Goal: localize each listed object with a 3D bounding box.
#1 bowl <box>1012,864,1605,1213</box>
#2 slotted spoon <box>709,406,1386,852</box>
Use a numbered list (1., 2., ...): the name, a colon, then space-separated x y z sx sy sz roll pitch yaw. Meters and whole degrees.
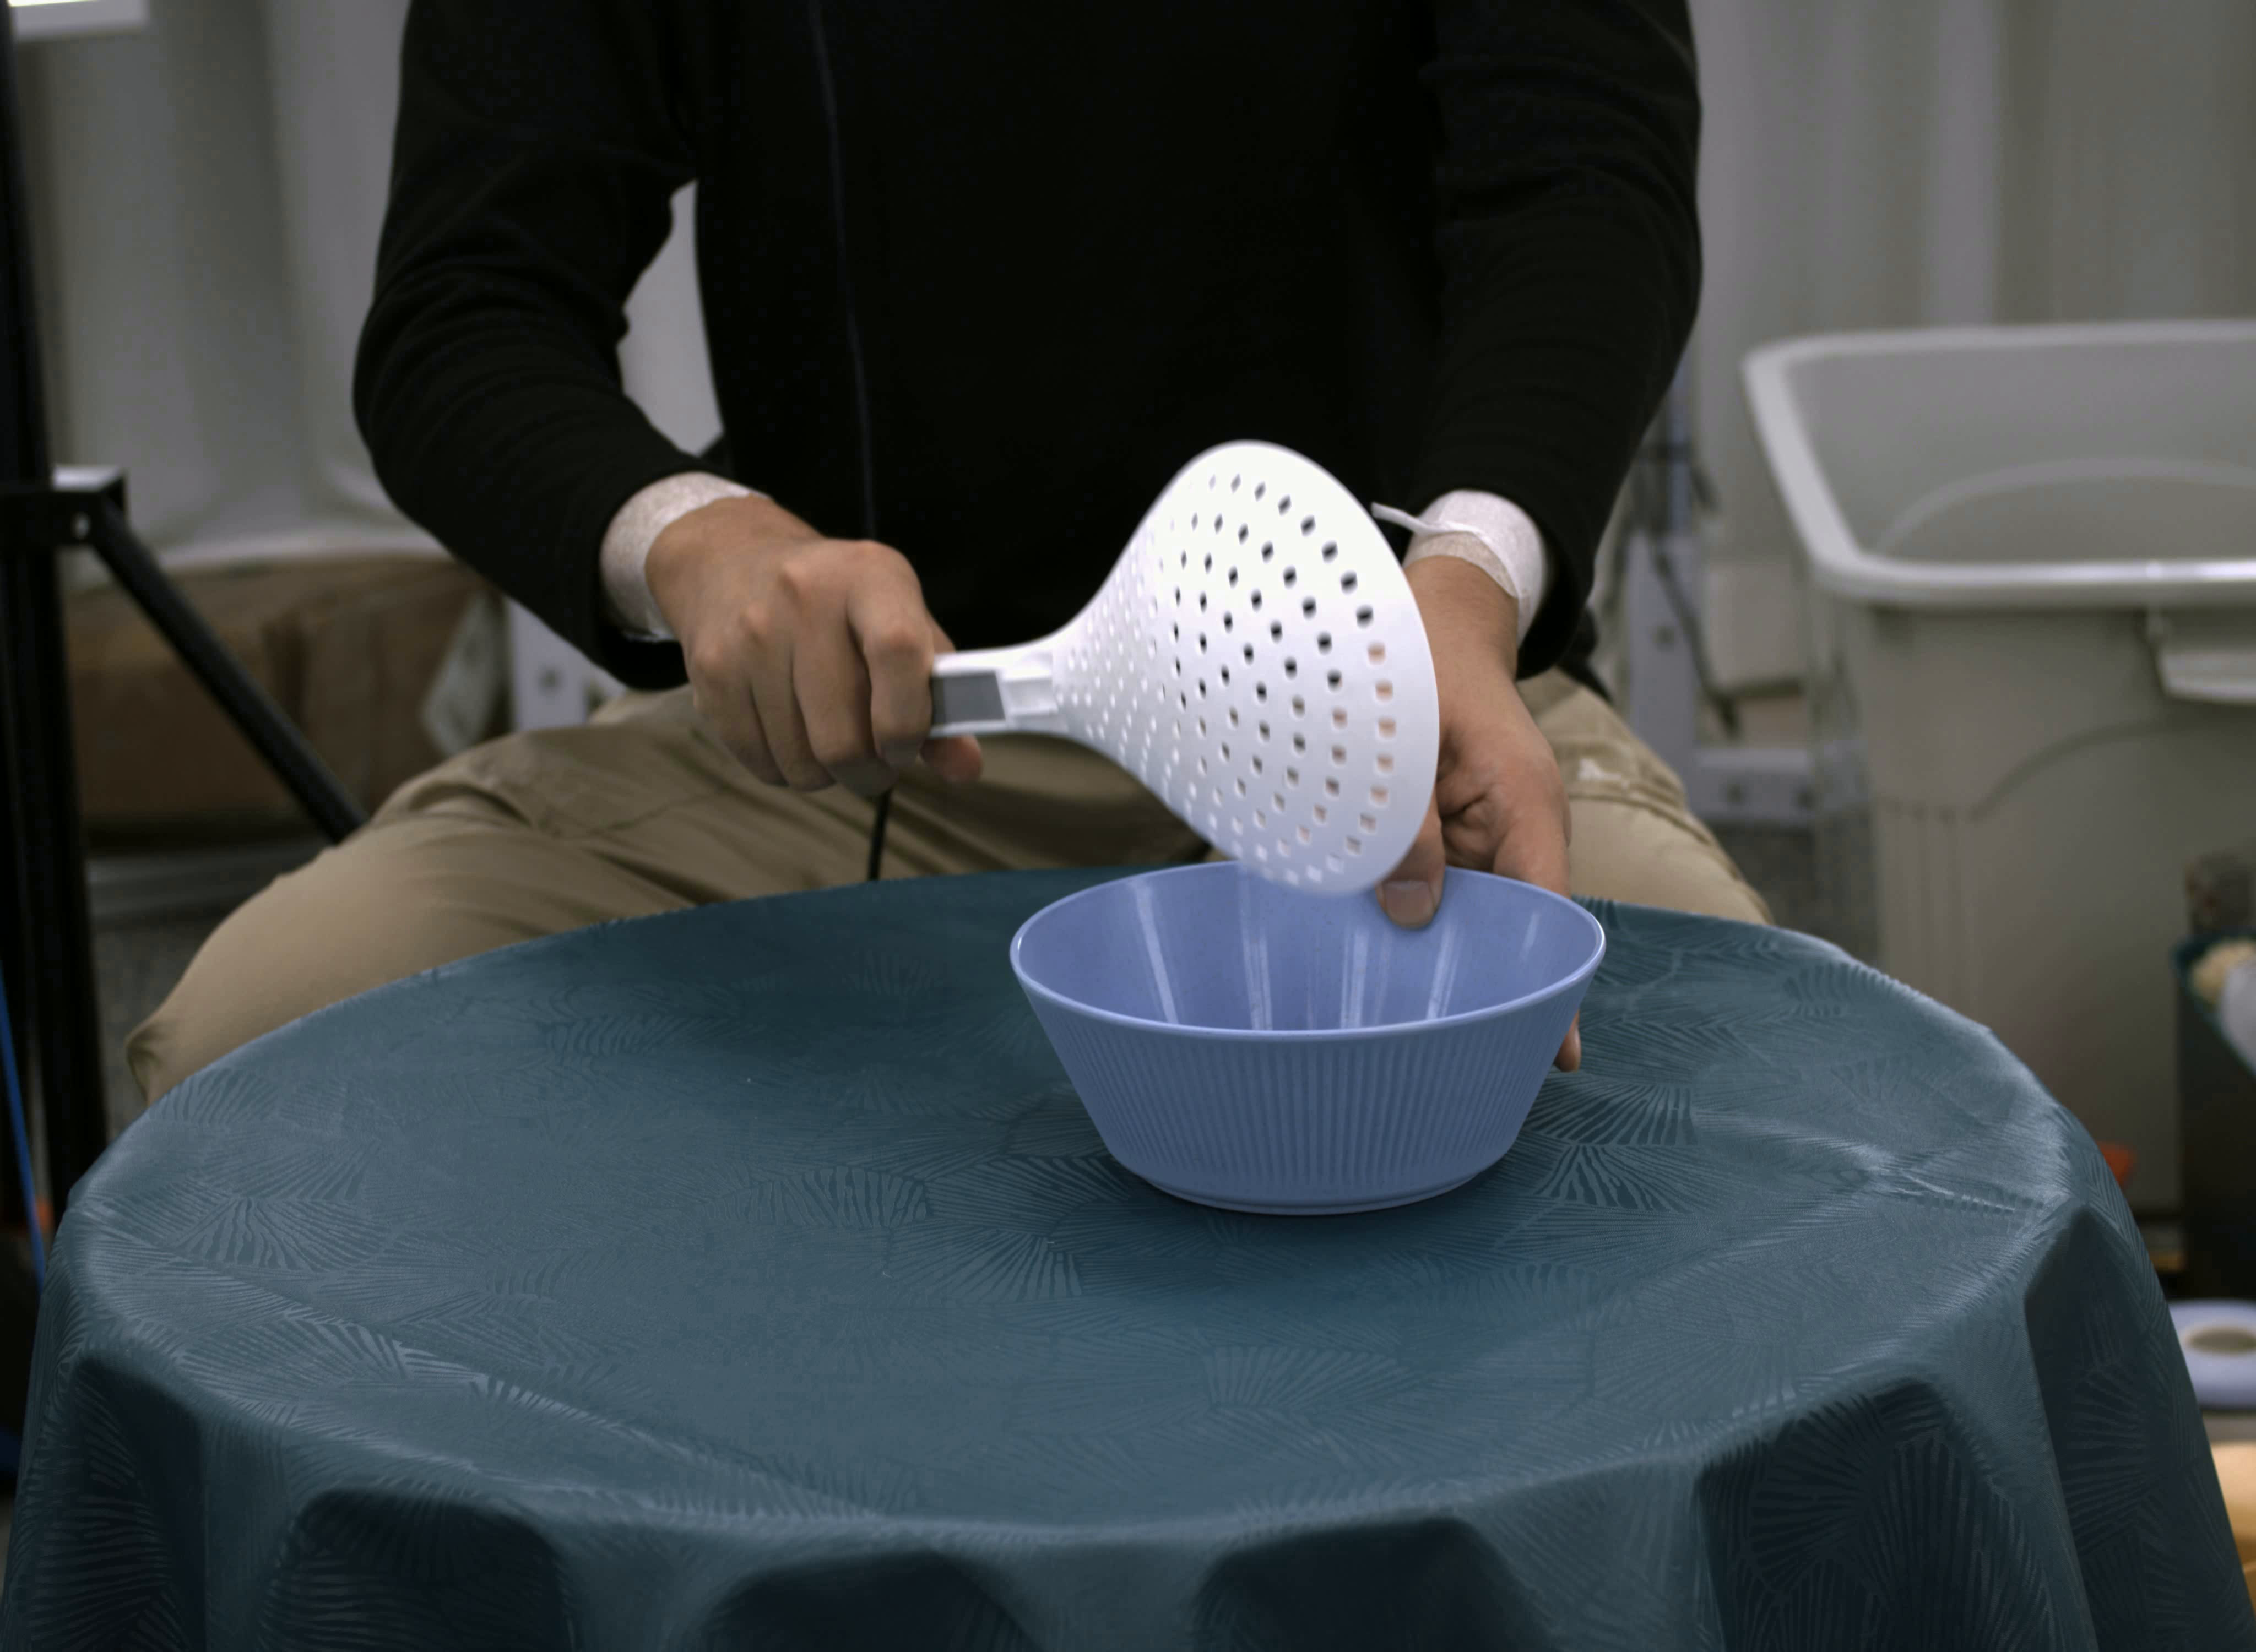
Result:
1. bowl: 0.054 0.065 1.572 0.175 0.070 0.177 -2 14 -1
2. slotted spoon: -0.036 -0.051 1.662 0.045 0.136 0.356 -18 8 -29
